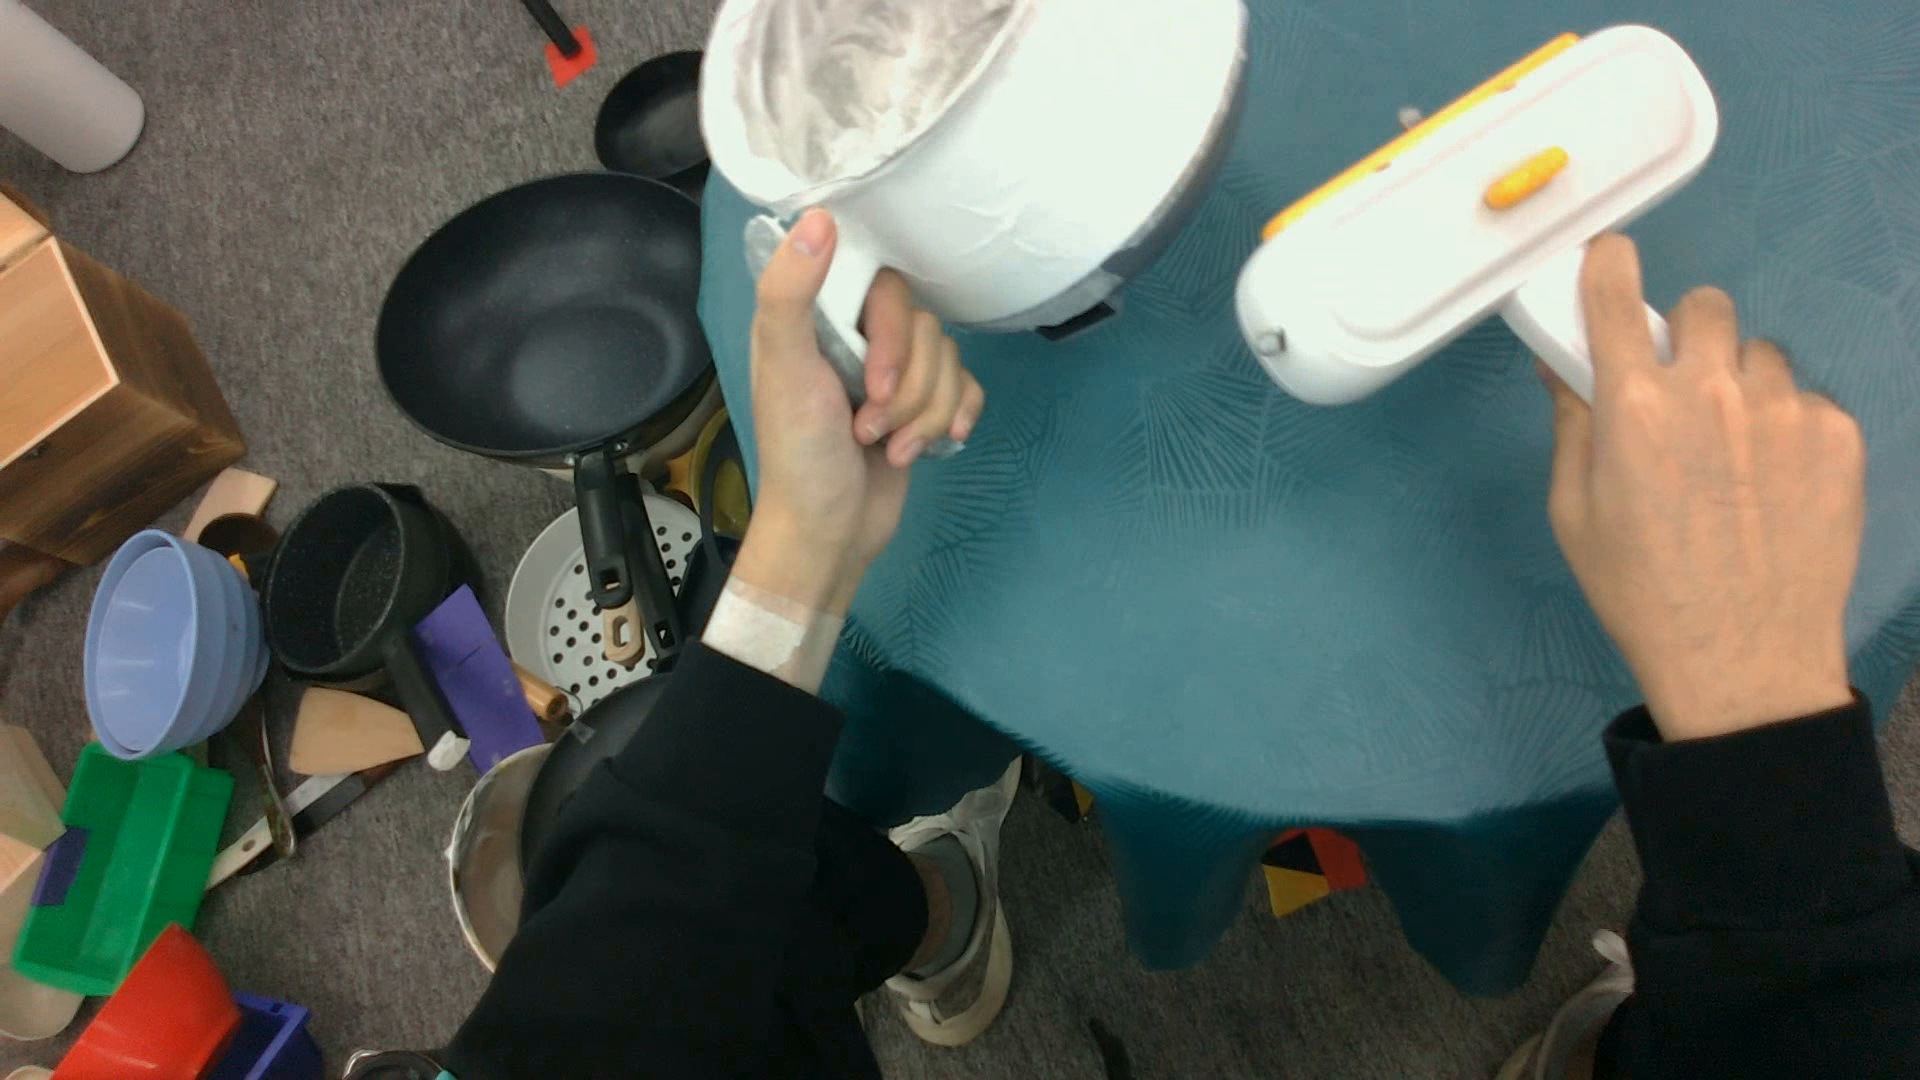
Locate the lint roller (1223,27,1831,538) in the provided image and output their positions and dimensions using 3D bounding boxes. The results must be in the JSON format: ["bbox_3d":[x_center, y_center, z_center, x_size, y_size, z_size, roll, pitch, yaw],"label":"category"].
[{"bbox_3d":[0.218,-0.075,0.487,0.193,0.074,0.192,-35,82,-18],"label":"lint roller"}]

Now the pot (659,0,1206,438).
[{"bbox_3d":[-0.015,-0.161,0.523,0.178,0.136,0.234,13,82,41],"label":"pot"}]
